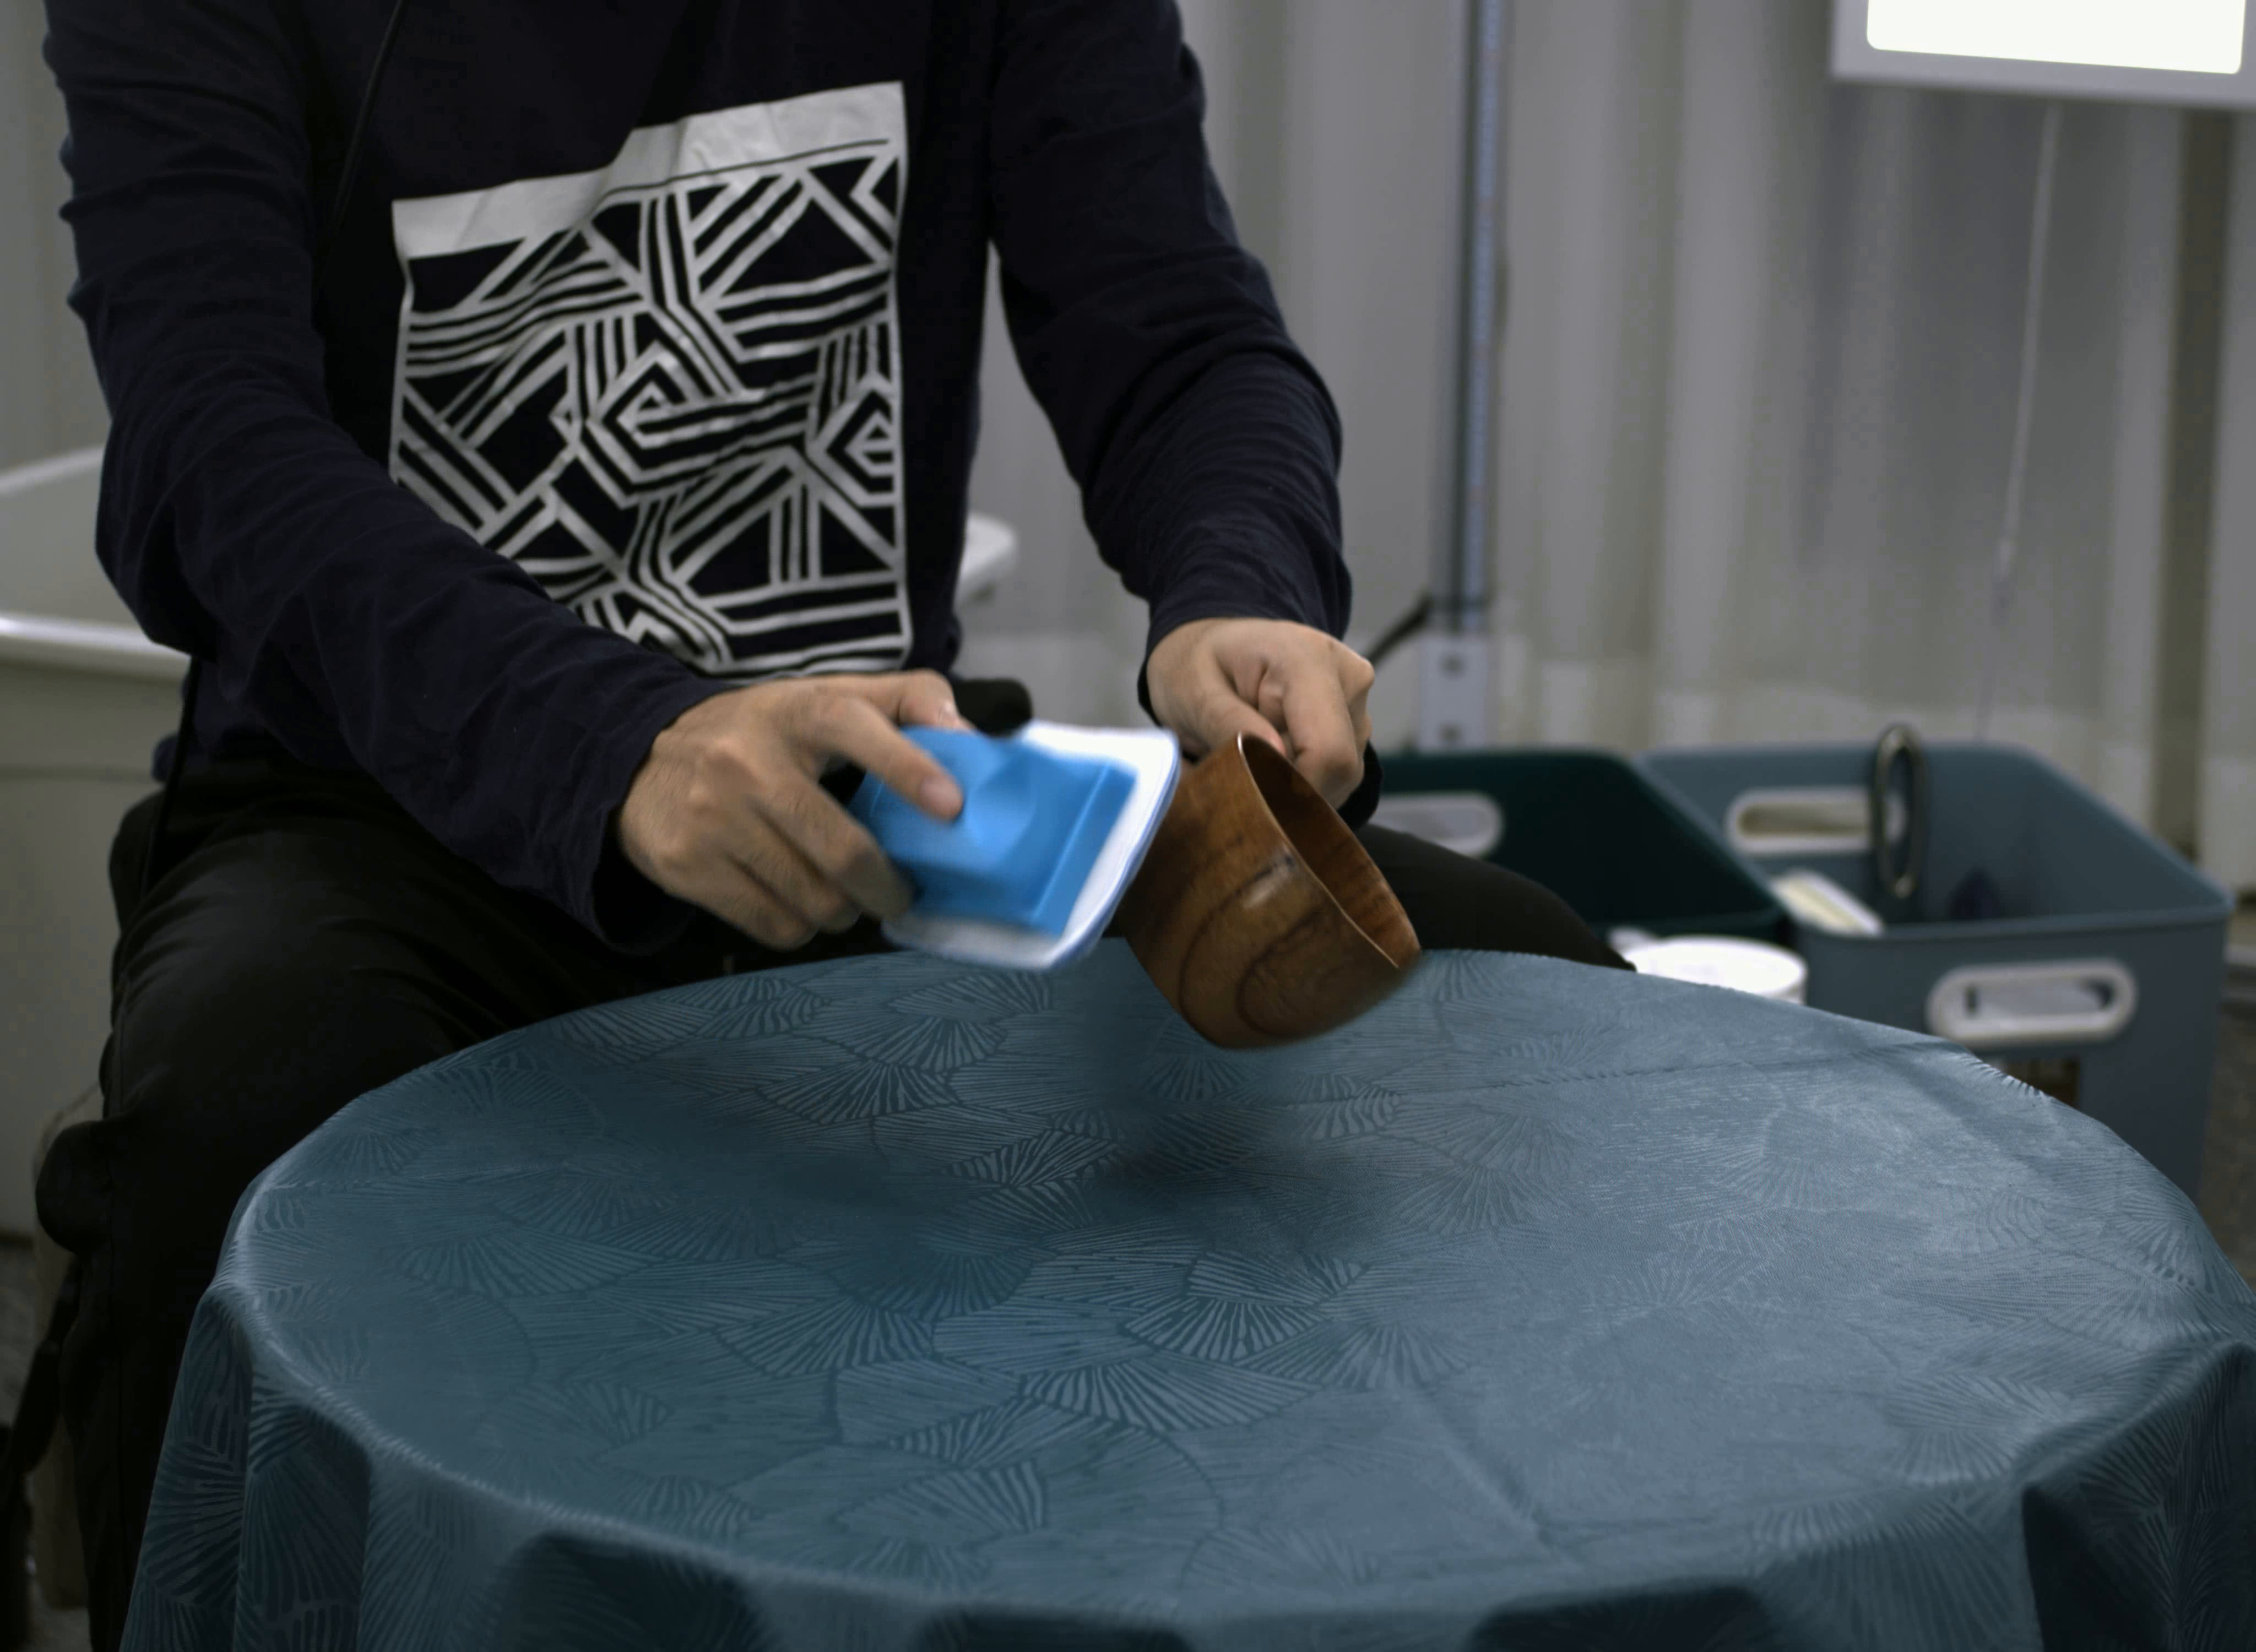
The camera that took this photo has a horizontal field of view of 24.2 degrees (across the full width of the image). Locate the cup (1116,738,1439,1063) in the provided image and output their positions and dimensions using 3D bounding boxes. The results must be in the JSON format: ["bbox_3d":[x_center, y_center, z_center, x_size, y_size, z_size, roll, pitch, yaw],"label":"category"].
[{"bbox_3d":[0.039,0.023,1.644,0.097,0.068,0.118,41,14,-30],"label":"cup"}]

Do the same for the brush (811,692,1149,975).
[{"bbox_3d":[-0.053,-0.003,1.610,0.056,0.084,0.142,36,-9,-28],"label":"brush"}]
